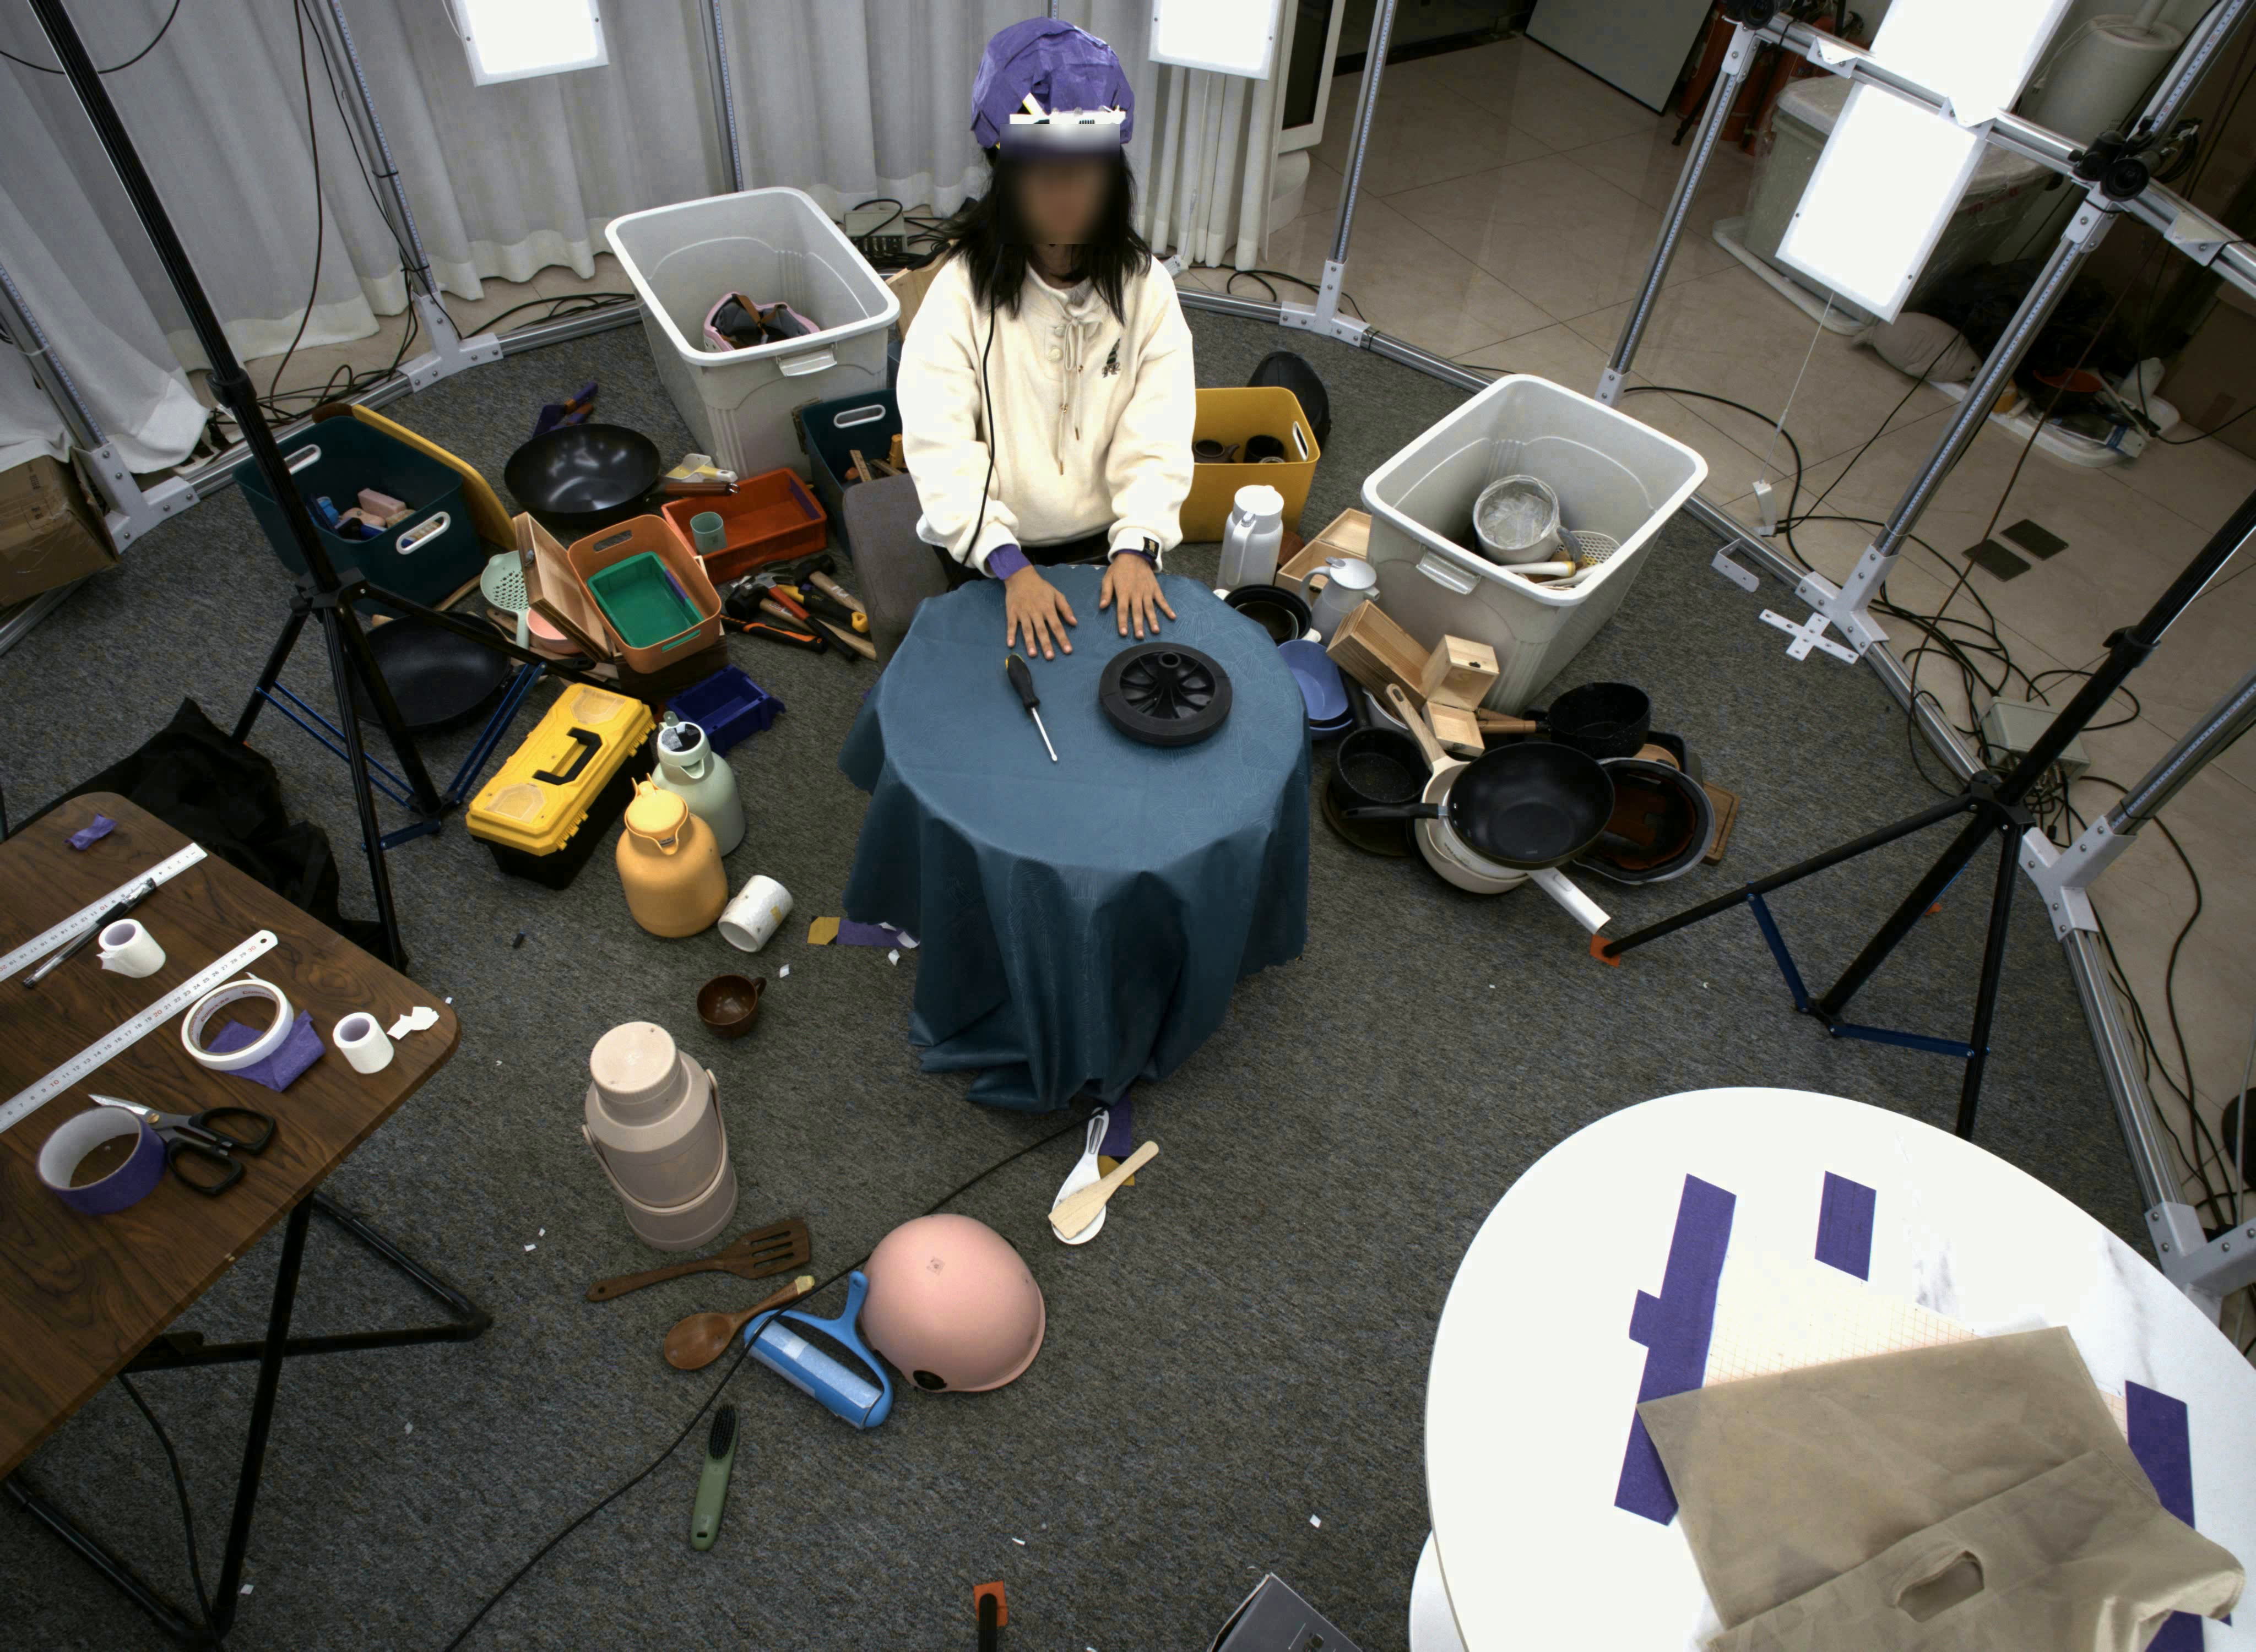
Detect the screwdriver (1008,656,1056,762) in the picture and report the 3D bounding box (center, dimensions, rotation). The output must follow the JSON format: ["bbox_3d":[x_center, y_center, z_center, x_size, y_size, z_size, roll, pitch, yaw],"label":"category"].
[{"bbox_3d":[-0.127,-0.165,1.789,0.031,0.031,0.201,-15,54,-17],"label":"screwdriver"}]

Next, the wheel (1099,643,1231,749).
[{"bbox_3d":[0.053,-0.199,1.798,0.188,0.077,0.193,18,53,11],"label":"wheel"}]
